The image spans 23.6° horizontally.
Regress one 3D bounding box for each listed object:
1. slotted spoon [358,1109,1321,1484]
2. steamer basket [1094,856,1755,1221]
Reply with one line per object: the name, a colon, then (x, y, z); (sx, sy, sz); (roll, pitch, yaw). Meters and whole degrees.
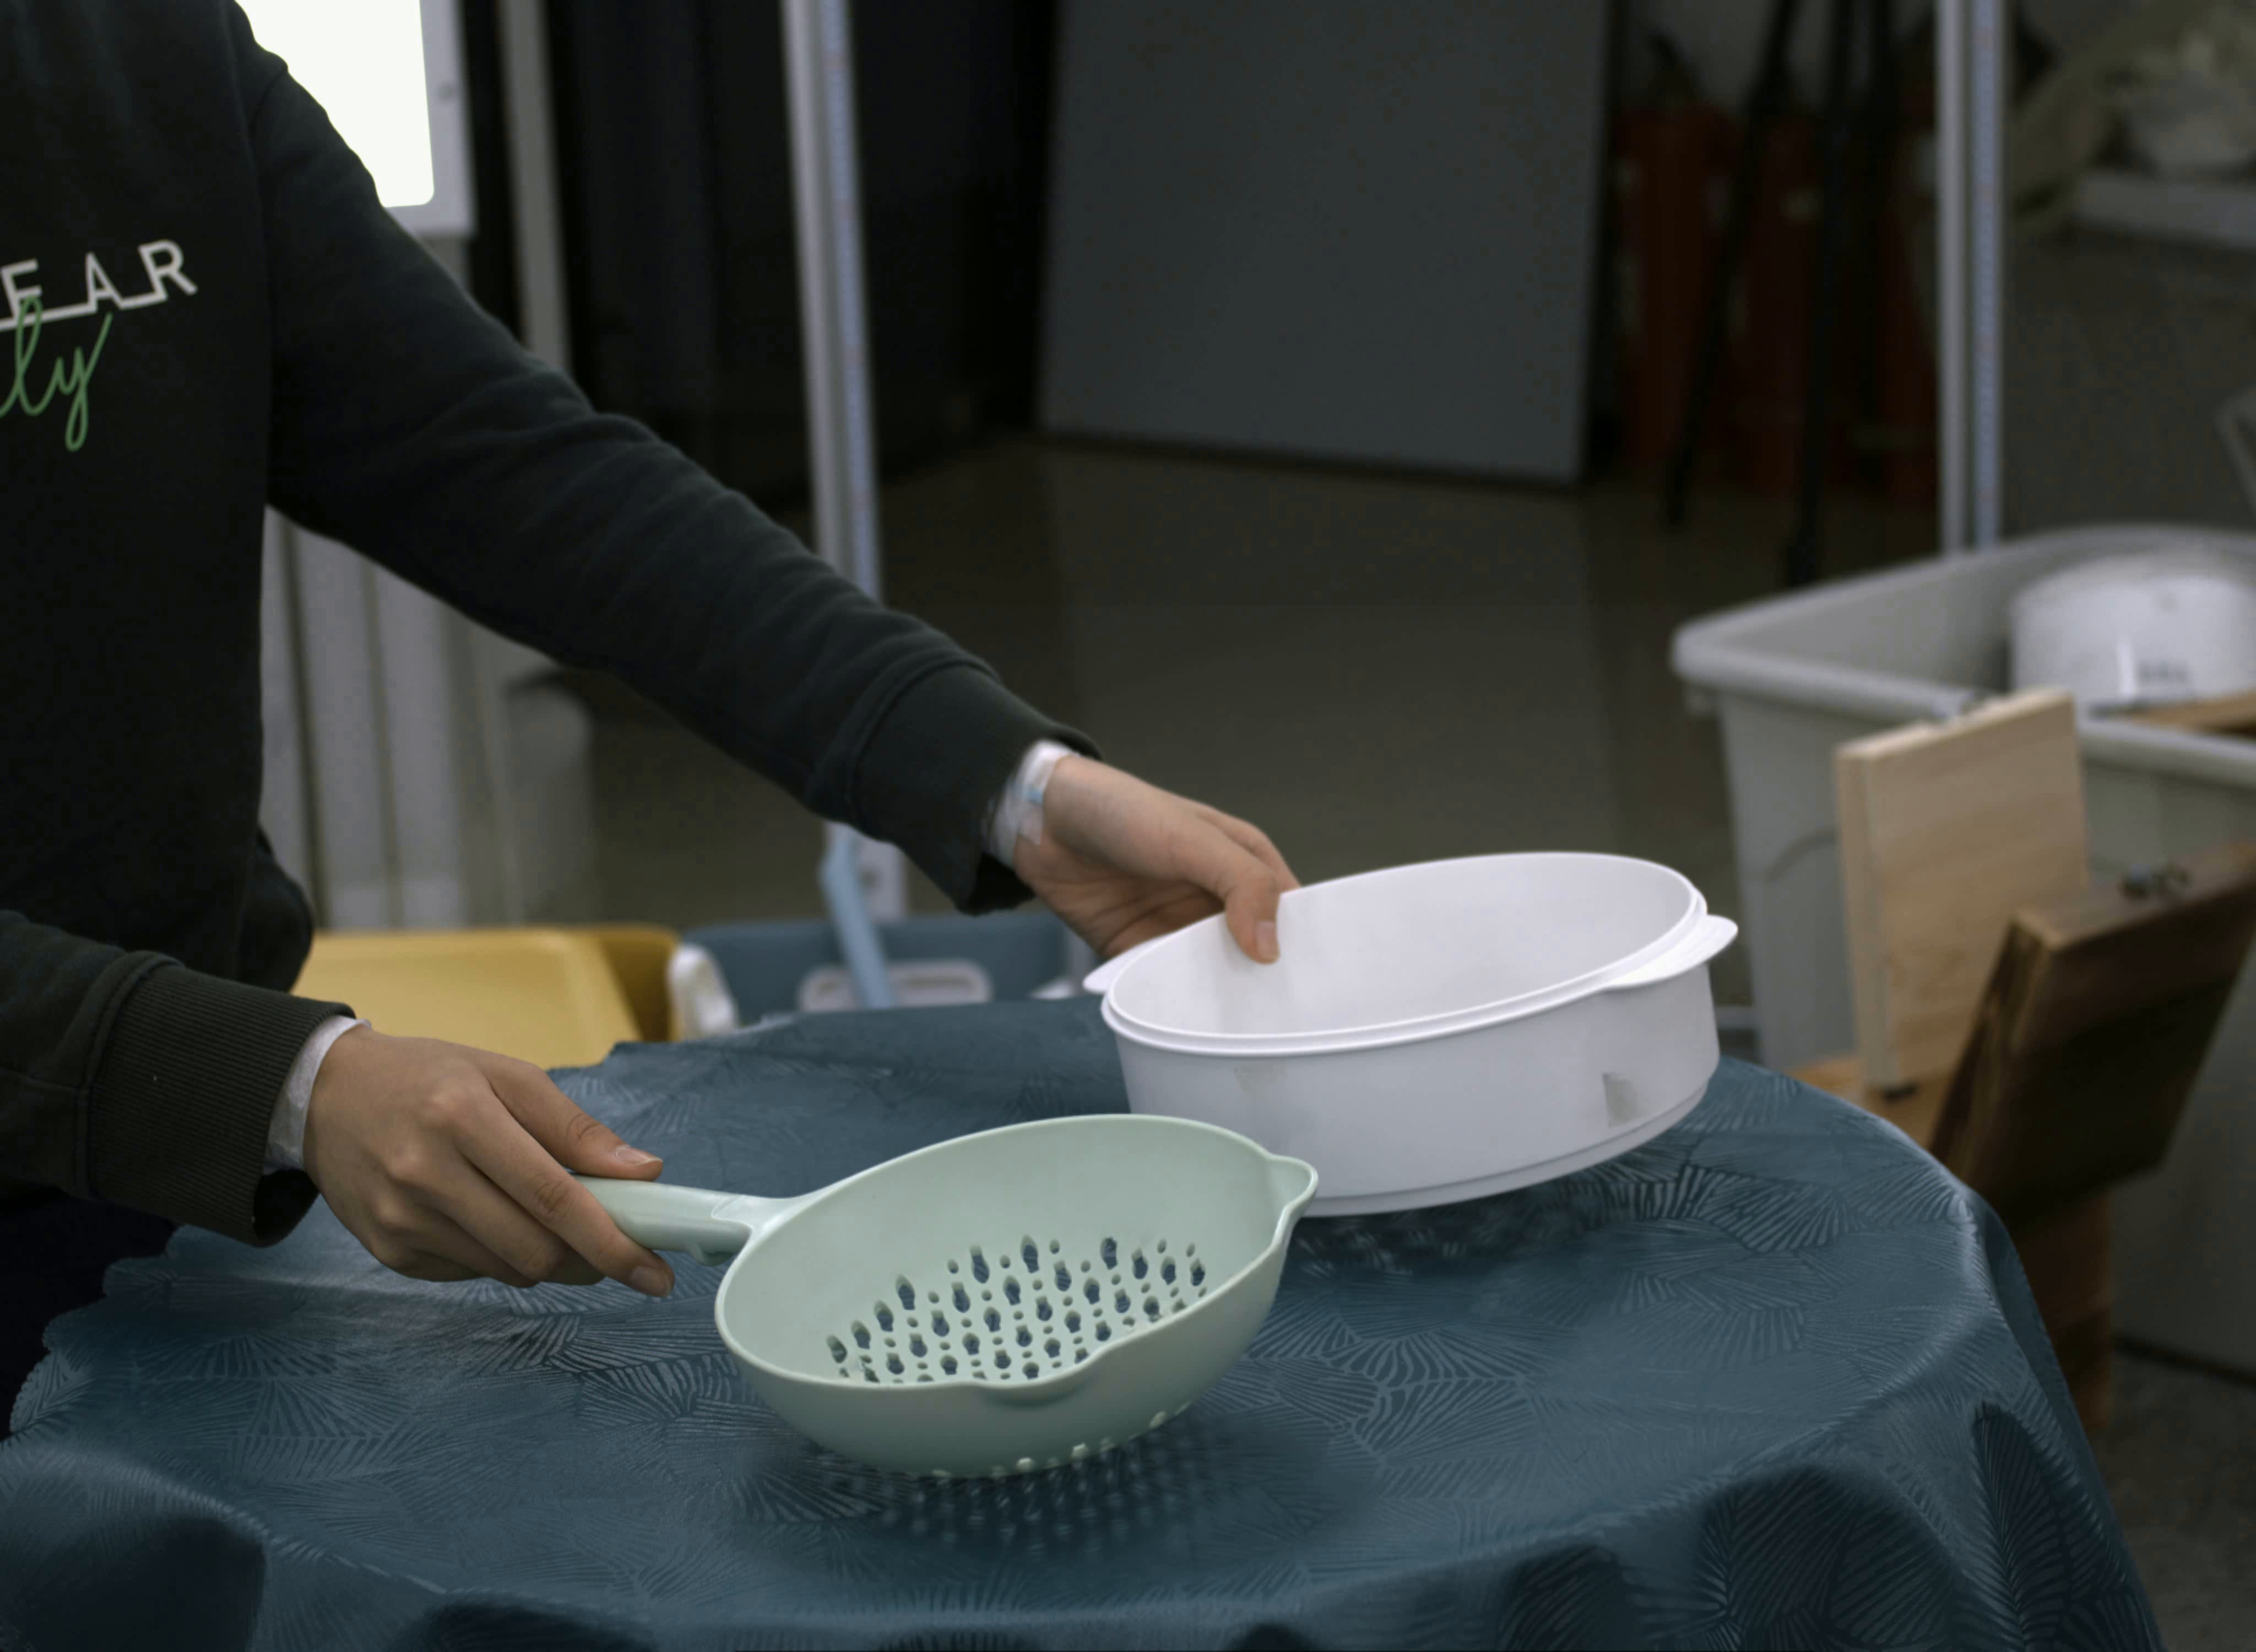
slotted spoon: (-0.106, 0.125, 1.599); (0.361, 0.076, 0.167); (13, 31, 37)
steamer basket: (0.098, 0.069, 1.748); (0.232, 0.070, 0.199); (-4, 14, 34)
